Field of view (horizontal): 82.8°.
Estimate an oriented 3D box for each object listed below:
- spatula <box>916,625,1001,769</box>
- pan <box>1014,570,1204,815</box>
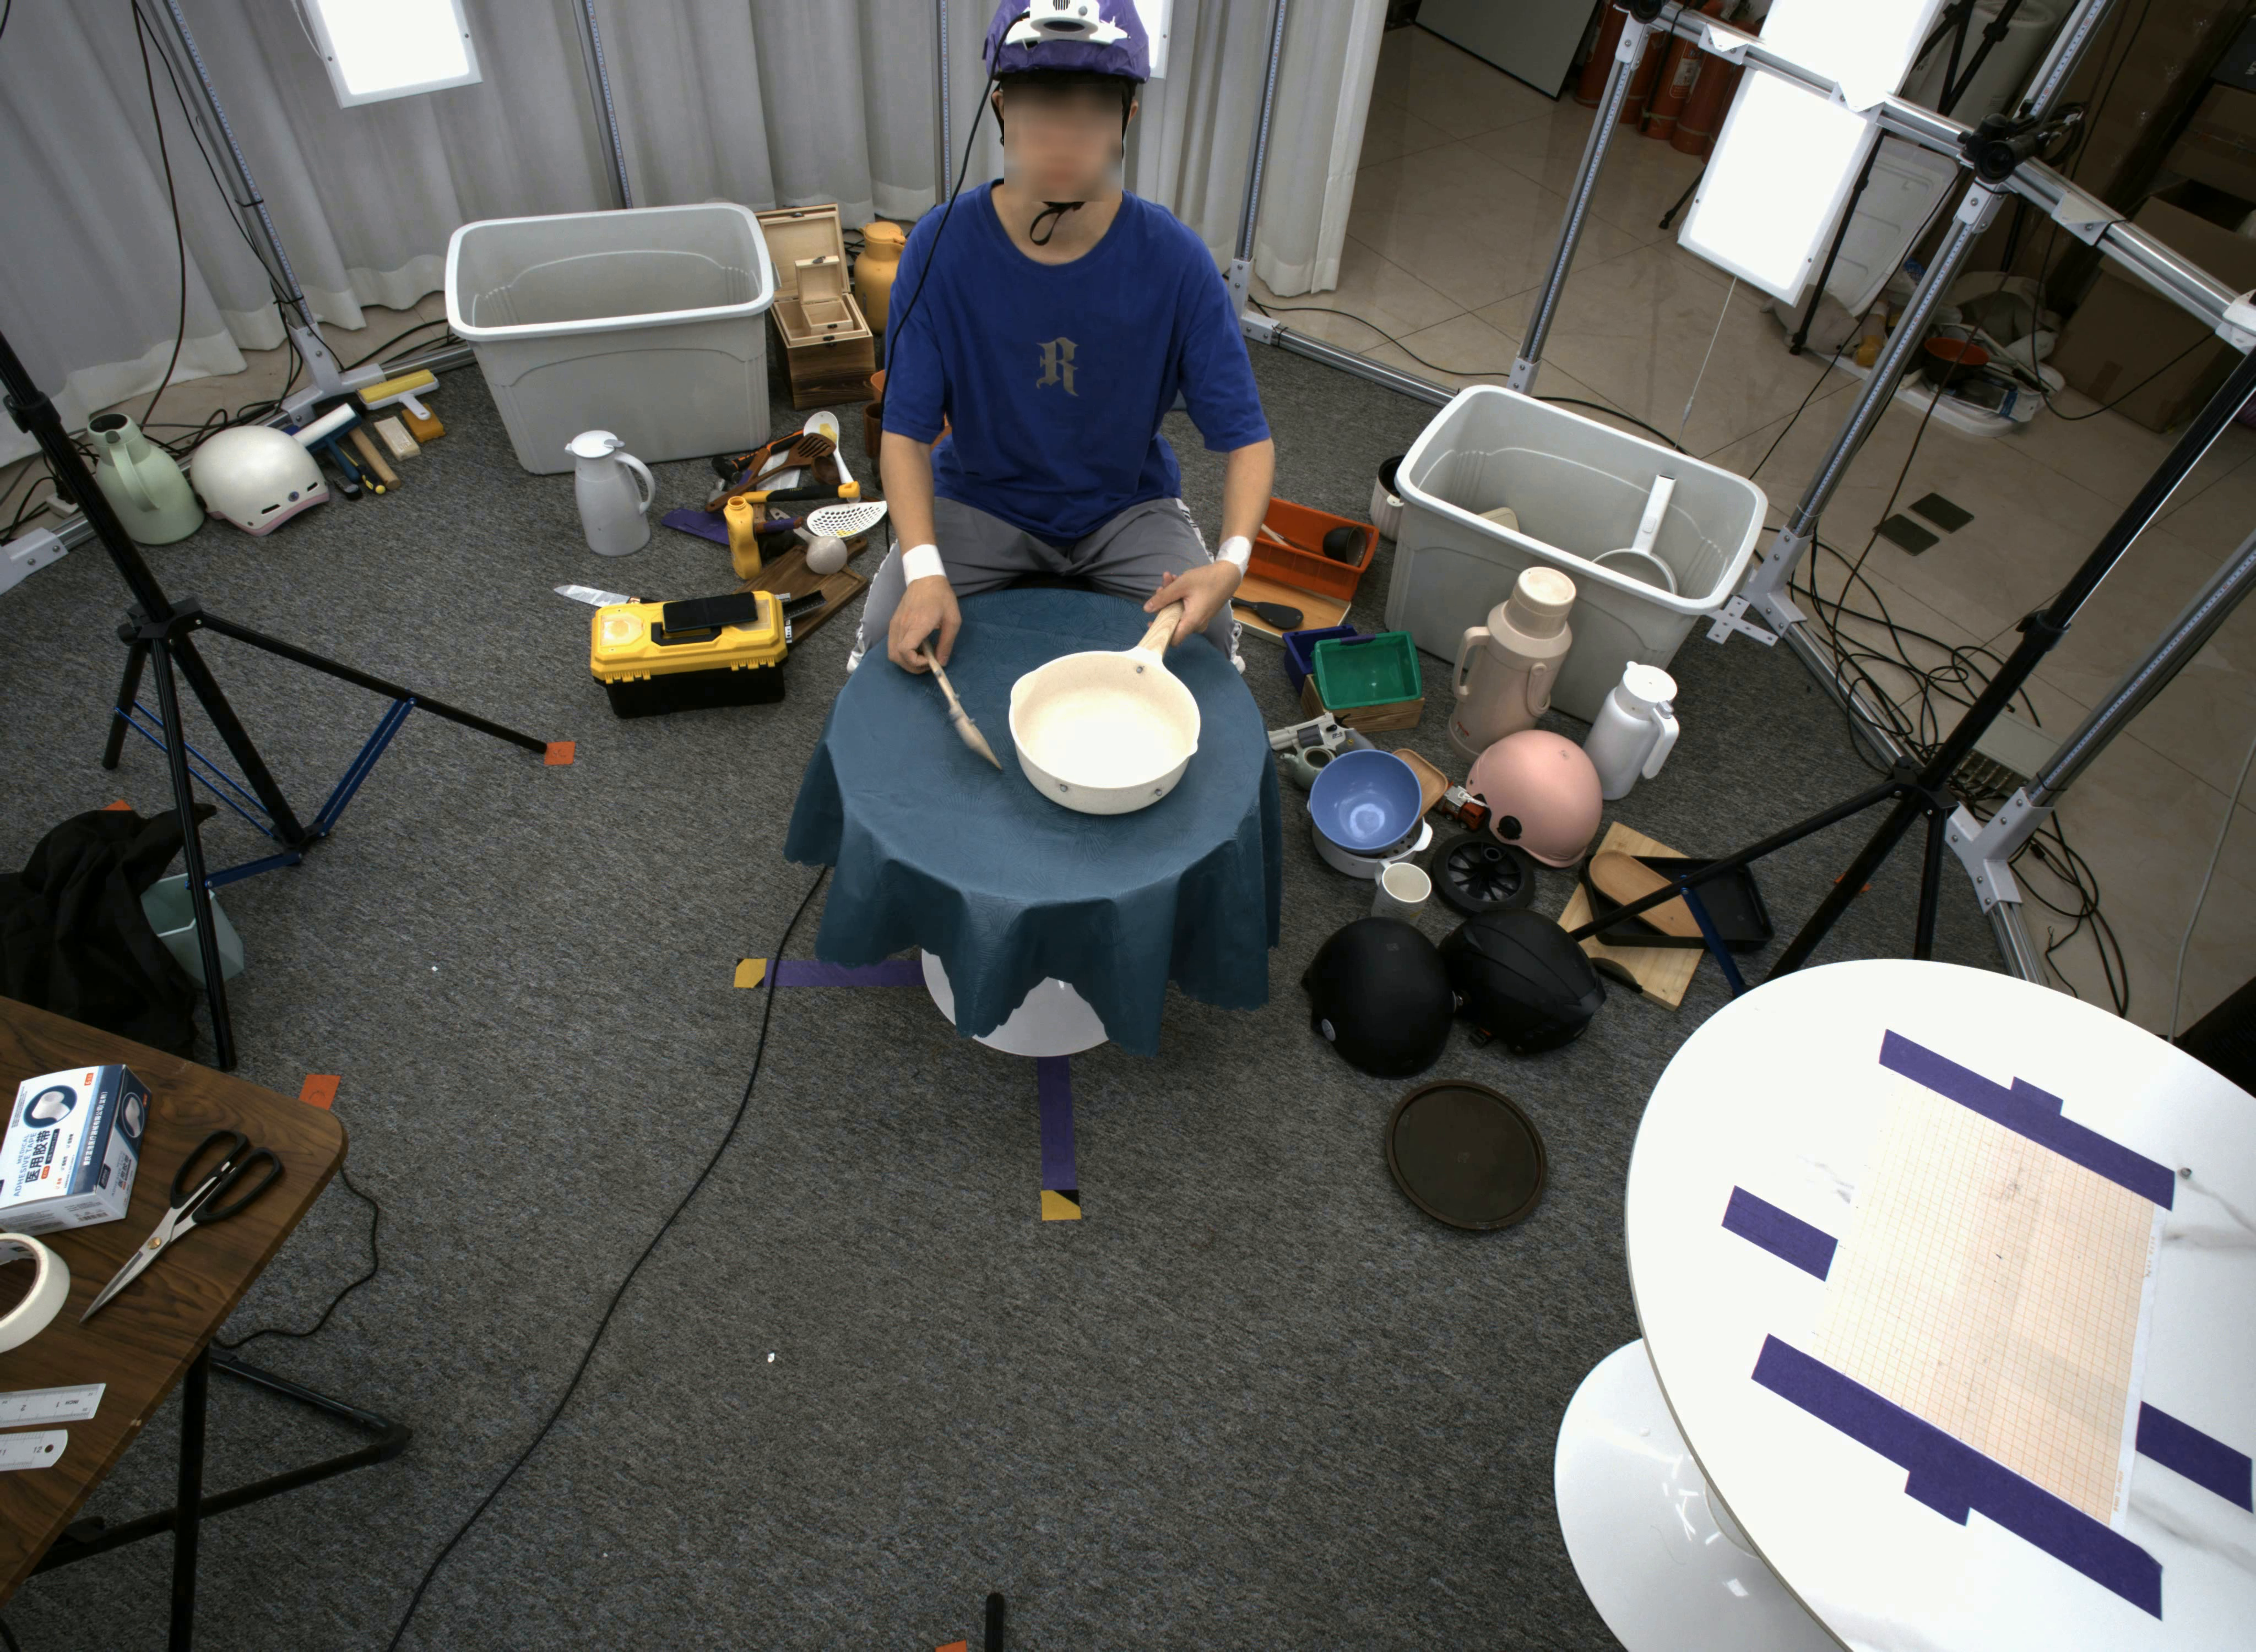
[{"bbox_3d":[-0.247,-0.187,1.790,0.071,0.010,0.300,25,28,-45],"label":"spatula"},{"bbox_3d":[0.010,-0.187,1.771,0.265,0.099,0.443,19,51,14],"label":"pan"}]
